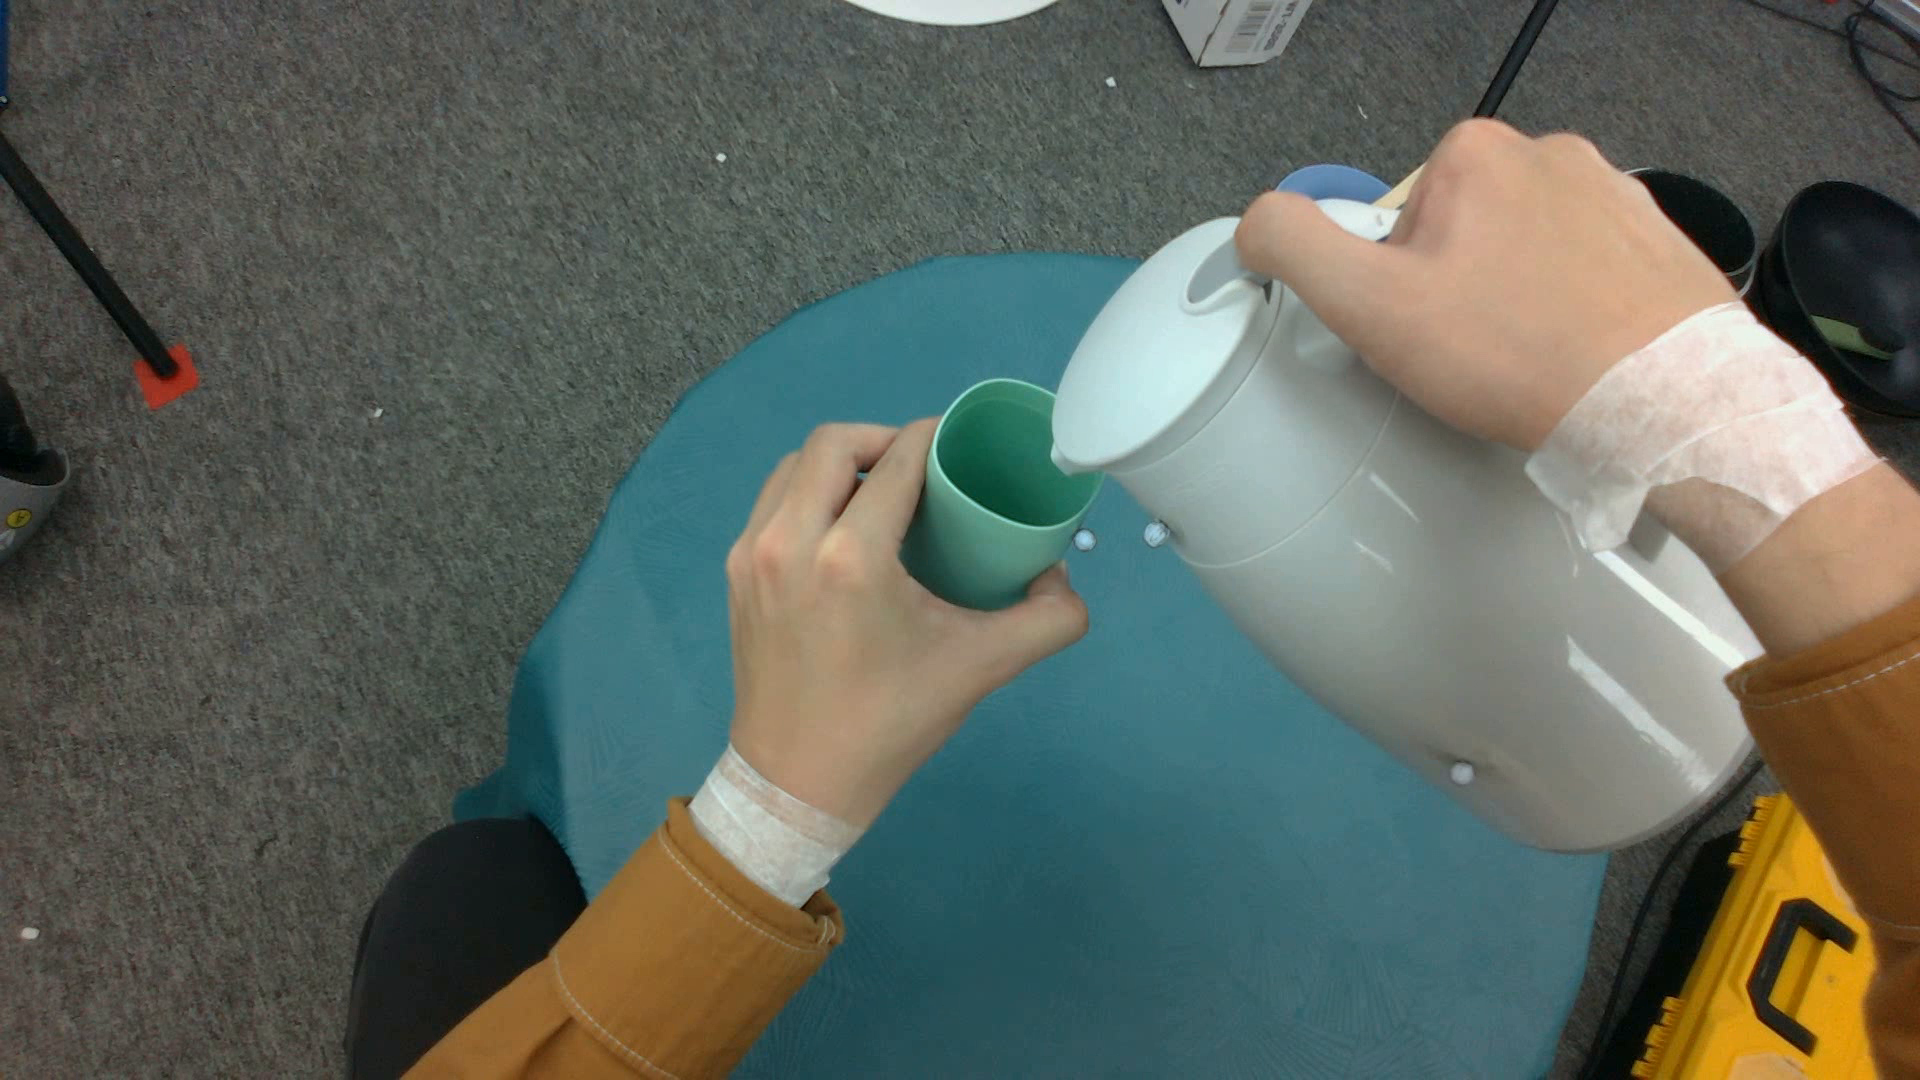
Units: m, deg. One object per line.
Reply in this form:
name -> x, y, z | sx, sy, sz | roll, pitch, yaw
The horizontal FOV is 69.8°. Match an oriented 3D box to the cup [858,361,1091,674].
cup -> 0.001, -0.004, 0.545 | 0.067, 0.131, 0.067 | 7, 57, -11

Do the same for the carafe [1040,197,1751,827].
carafe -> 0.157, -0.019, 0.466 | 0.248, 0.167, 0.133 | 34, 50, -25
